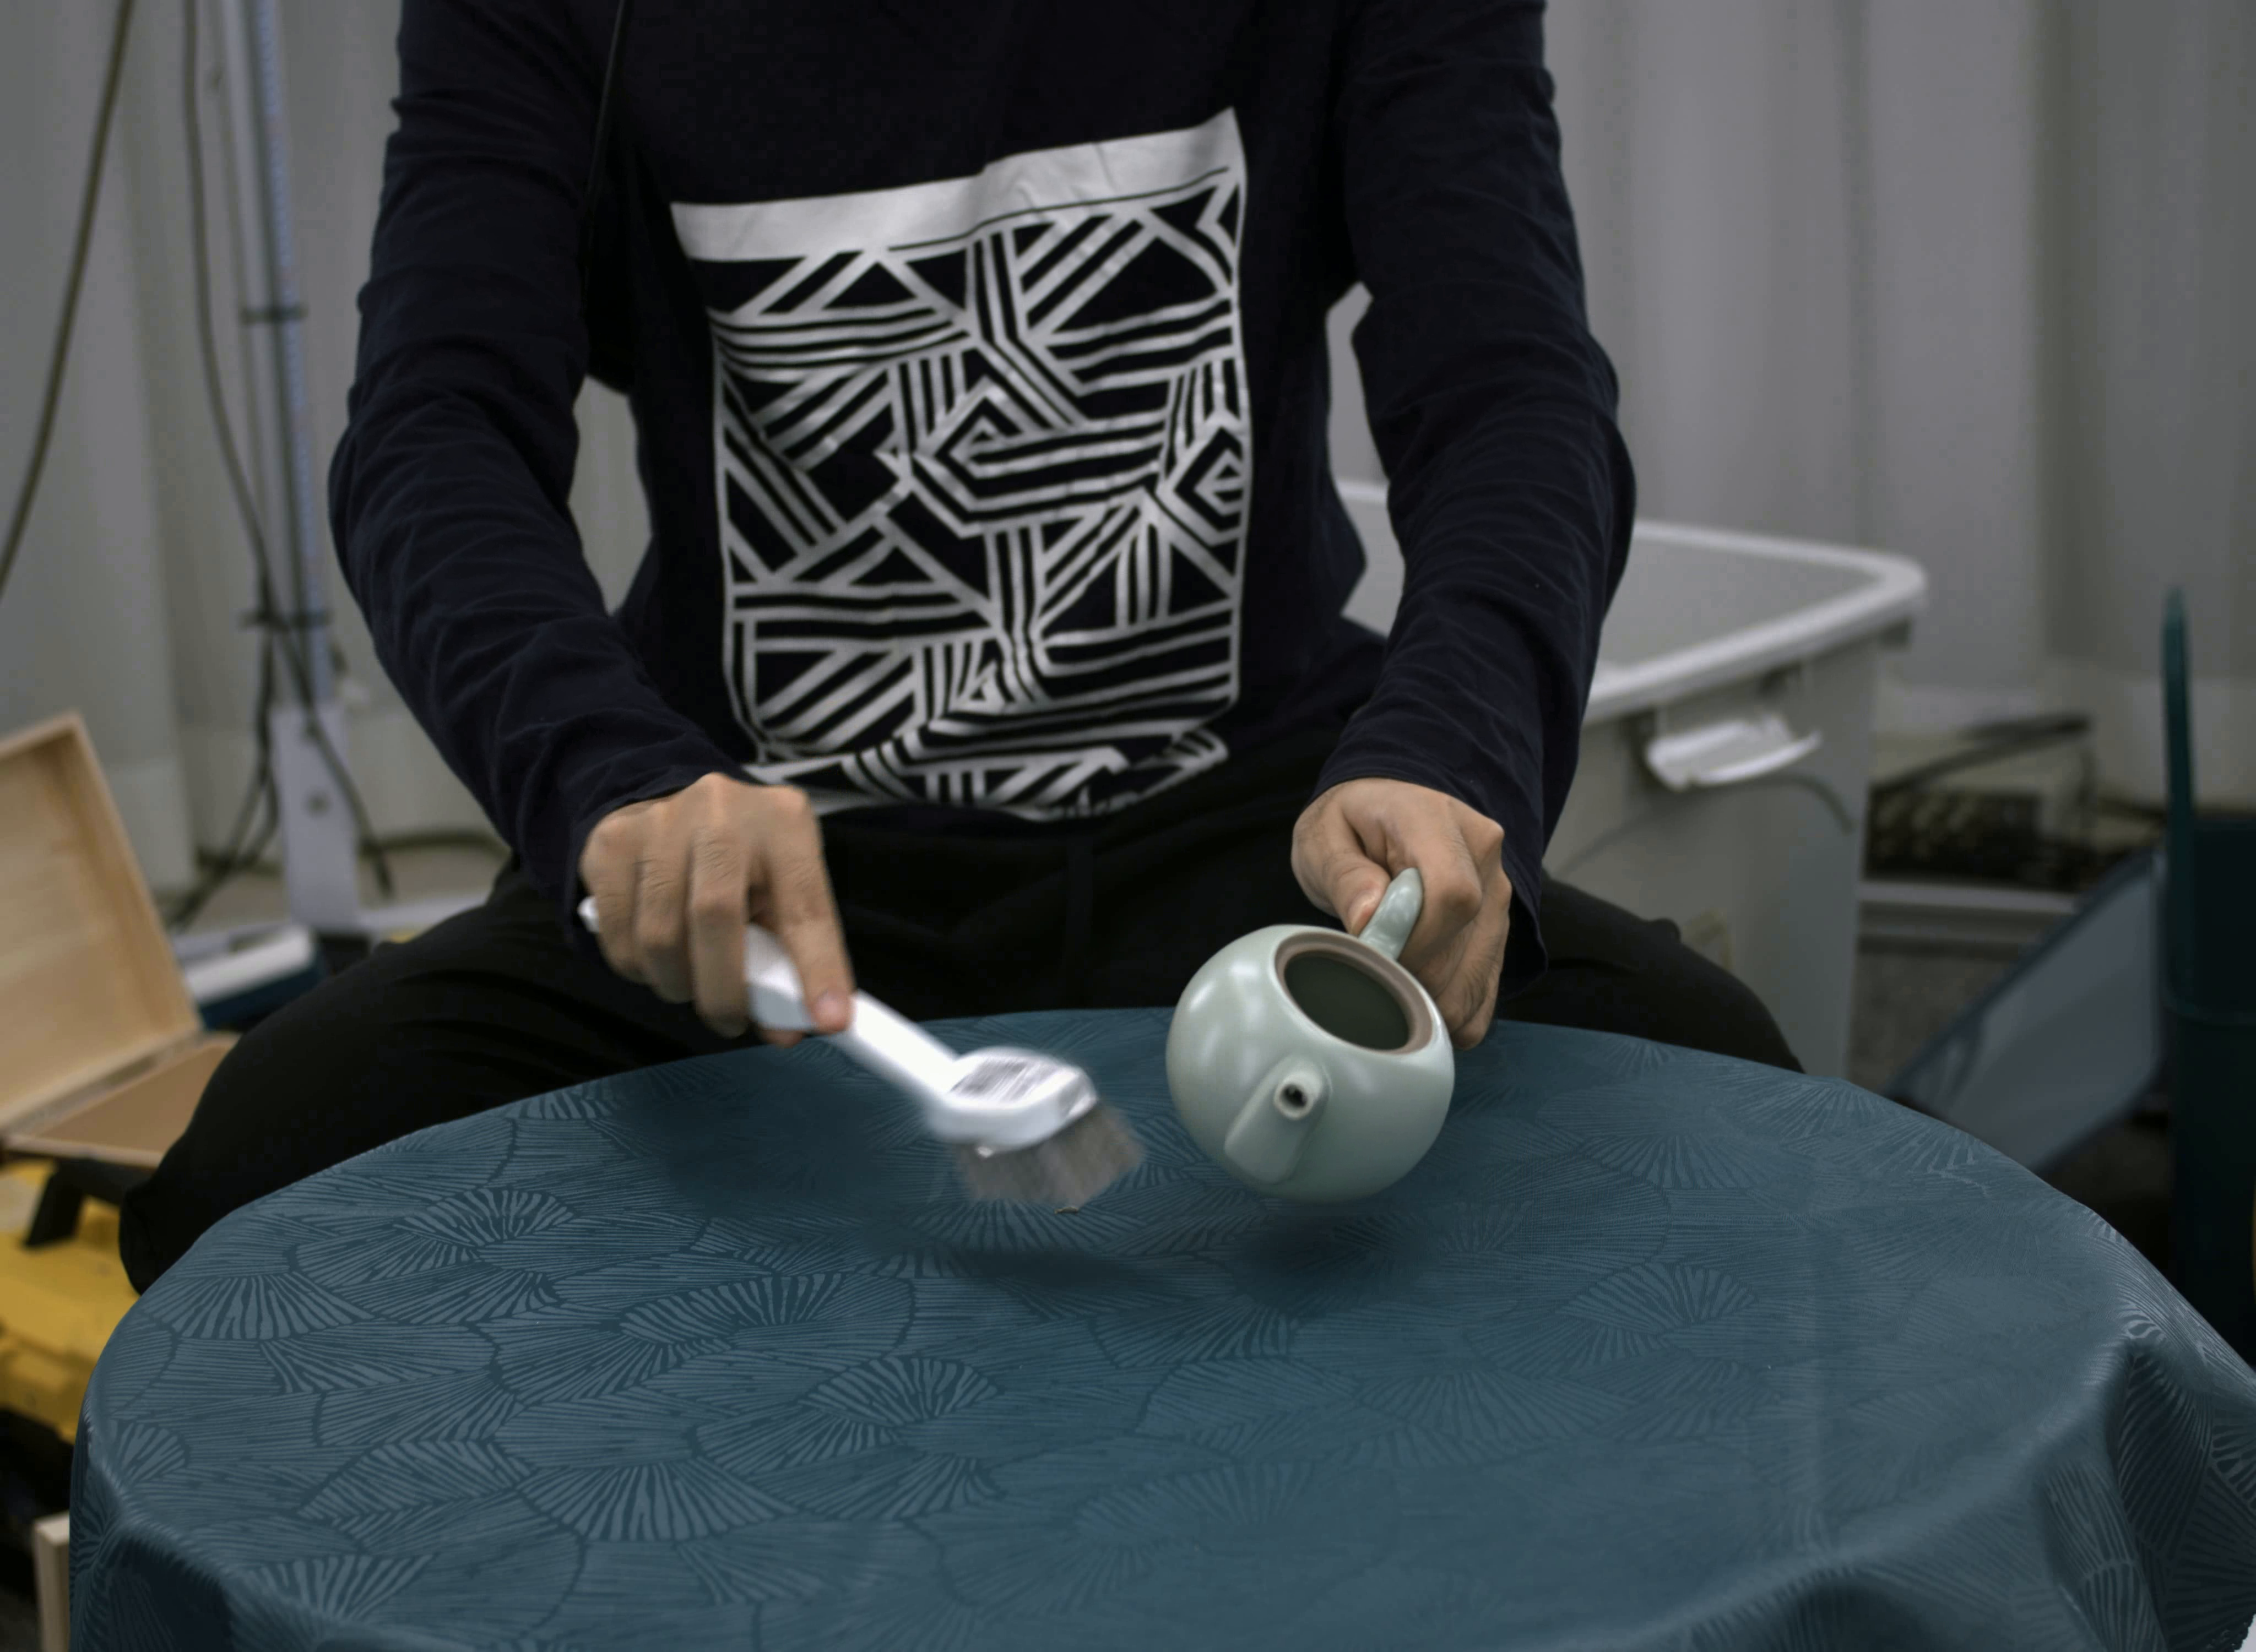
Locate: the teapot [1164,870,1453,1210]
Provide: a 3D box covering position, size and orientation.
[{"bbox_3d":[0.055,0.072,1.647,0.088,0.074,0.145,31,34,5],"label":"teapot"}]

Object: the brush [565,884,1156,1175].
[{"bbox_3d":[-0.086,0.064,1.698,0.245,0.049,0.034,16,47,43],"label":"brush"}]
